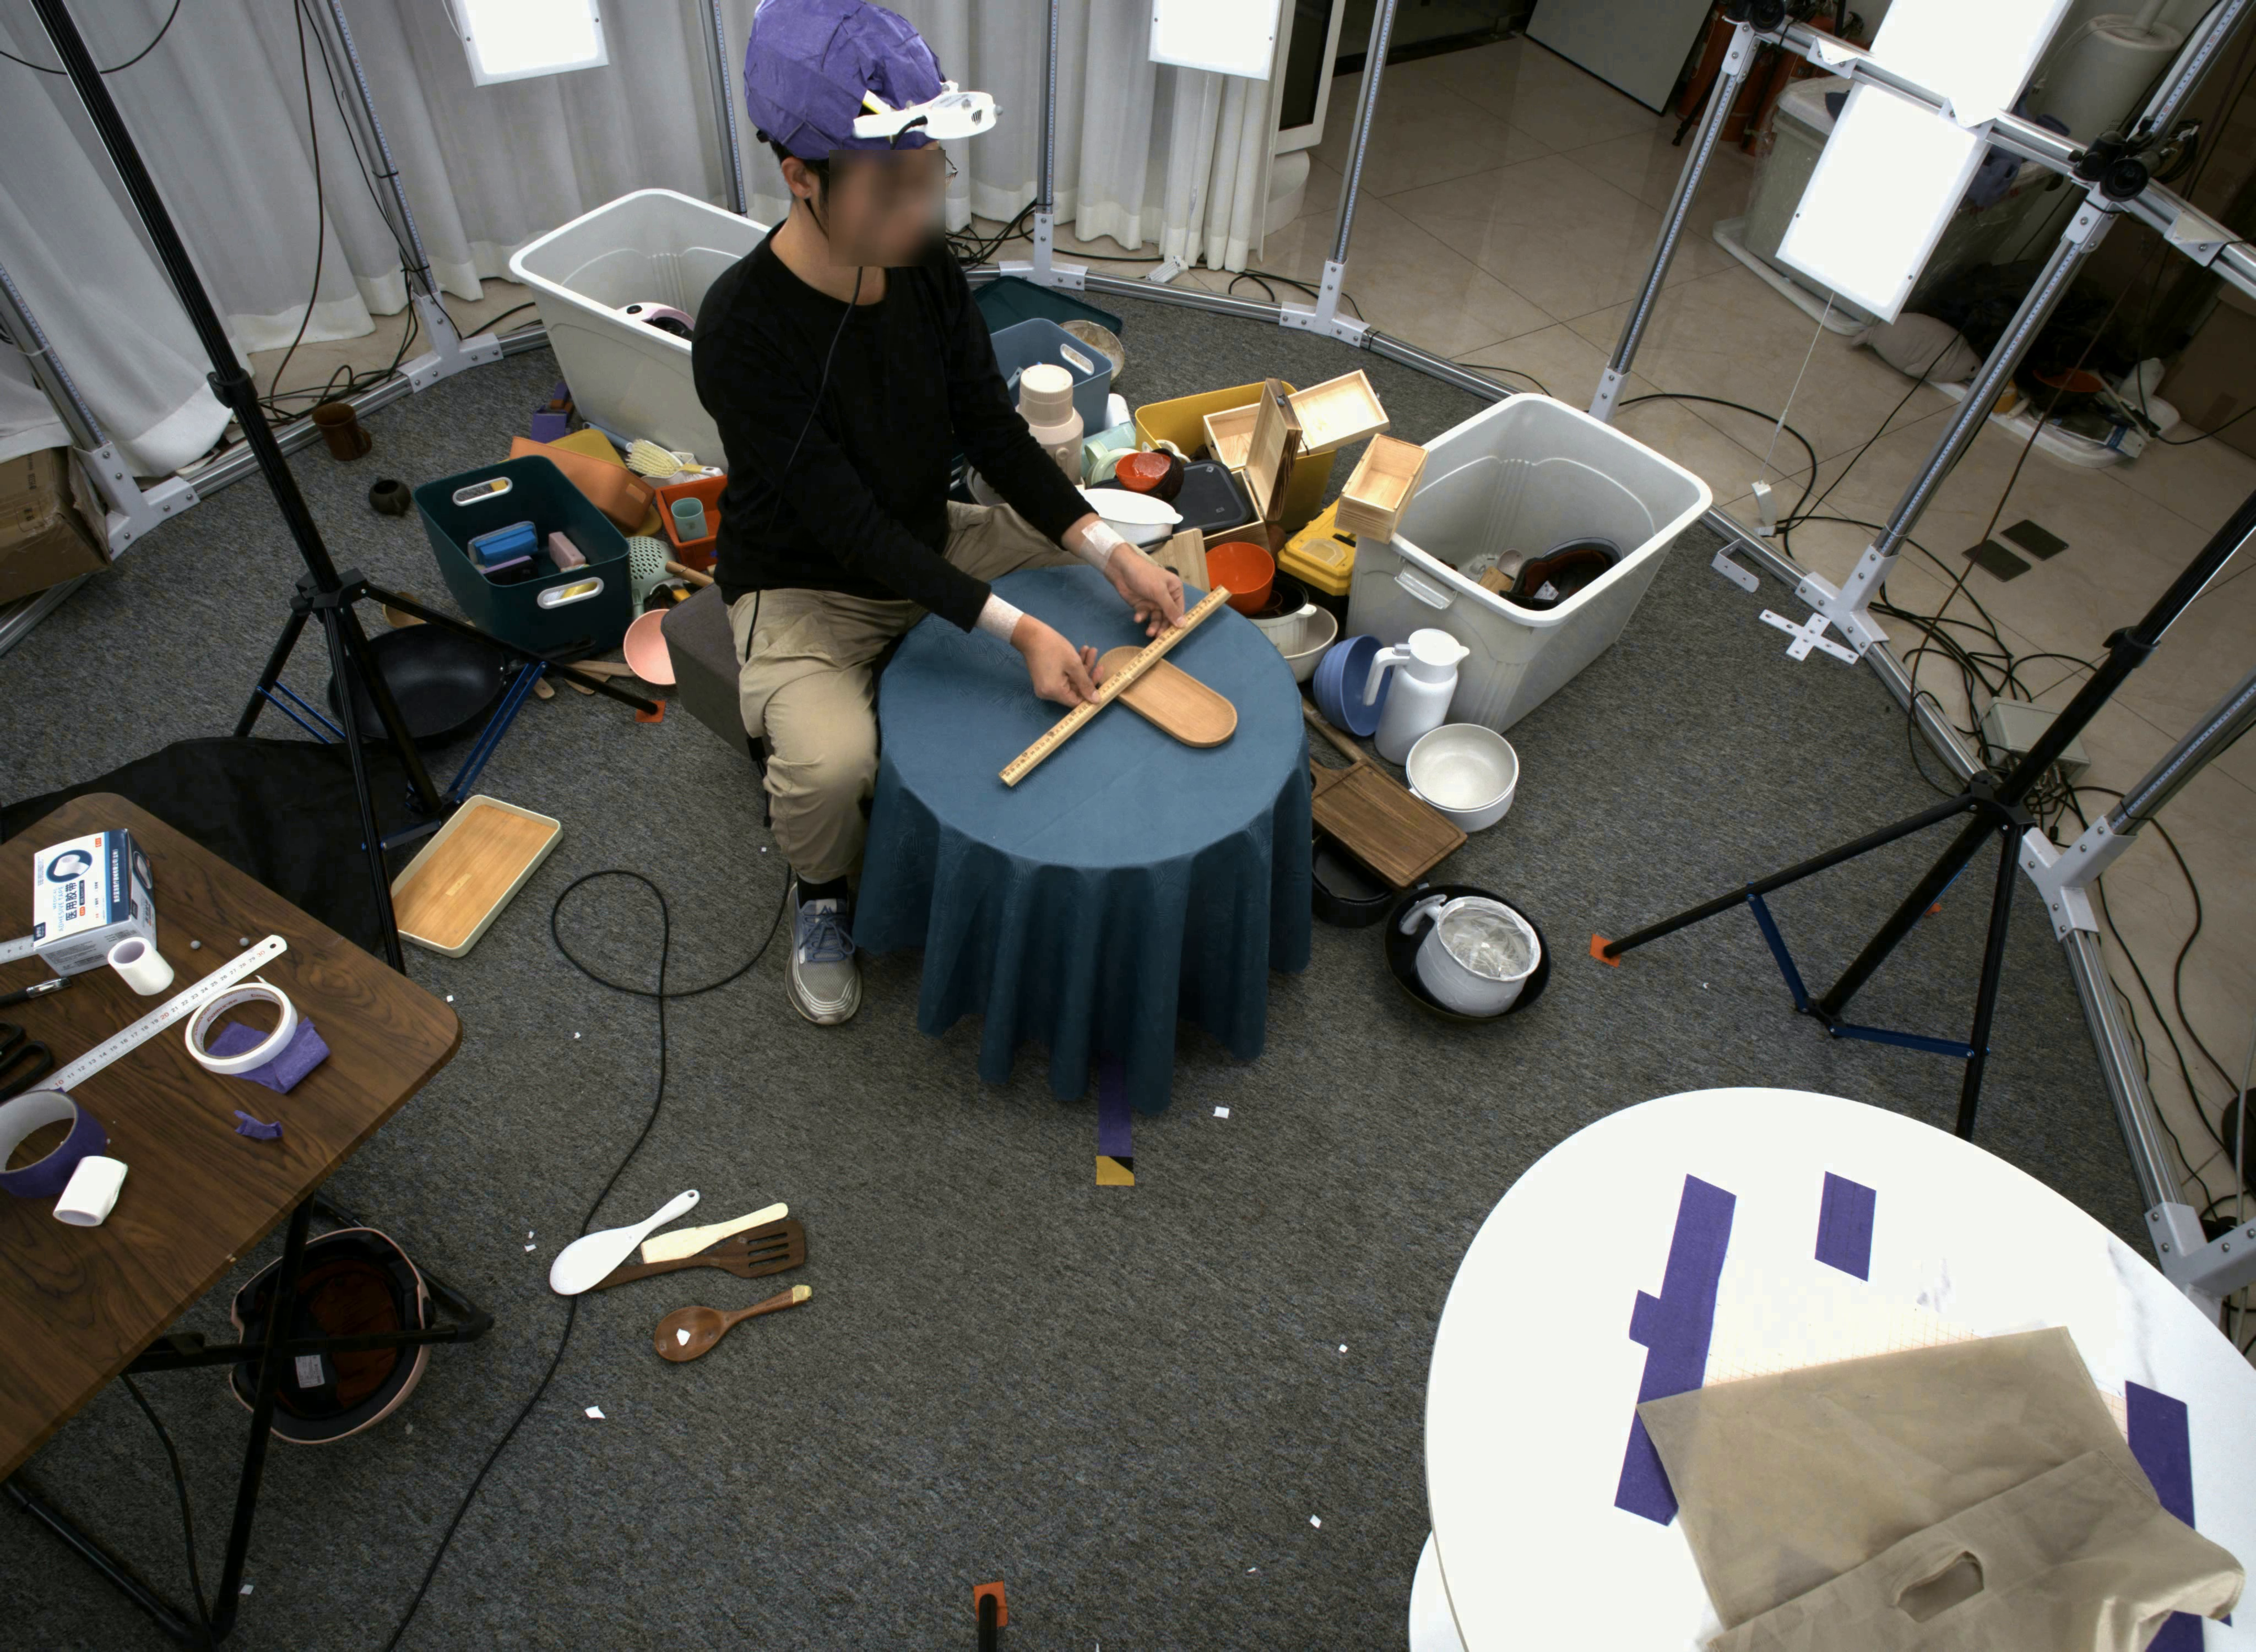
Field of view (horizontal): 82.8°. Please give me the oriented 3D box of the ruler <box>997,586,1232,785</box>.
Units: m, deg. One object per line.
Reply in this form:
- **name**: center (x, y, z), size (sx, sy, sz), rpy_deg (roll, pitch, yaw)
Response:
- **ruler**: center (-0.008, -0.210, 1.825), size (0.027, 0.006, 0.506), rpy_deg (41, 59, 9)

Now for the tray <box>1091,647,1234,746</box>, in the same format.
- **tray**: center (0.048, -0.186, 1.823), size (0.234, 0.020, 0.103), rpy_deg (32, 55, 24)
